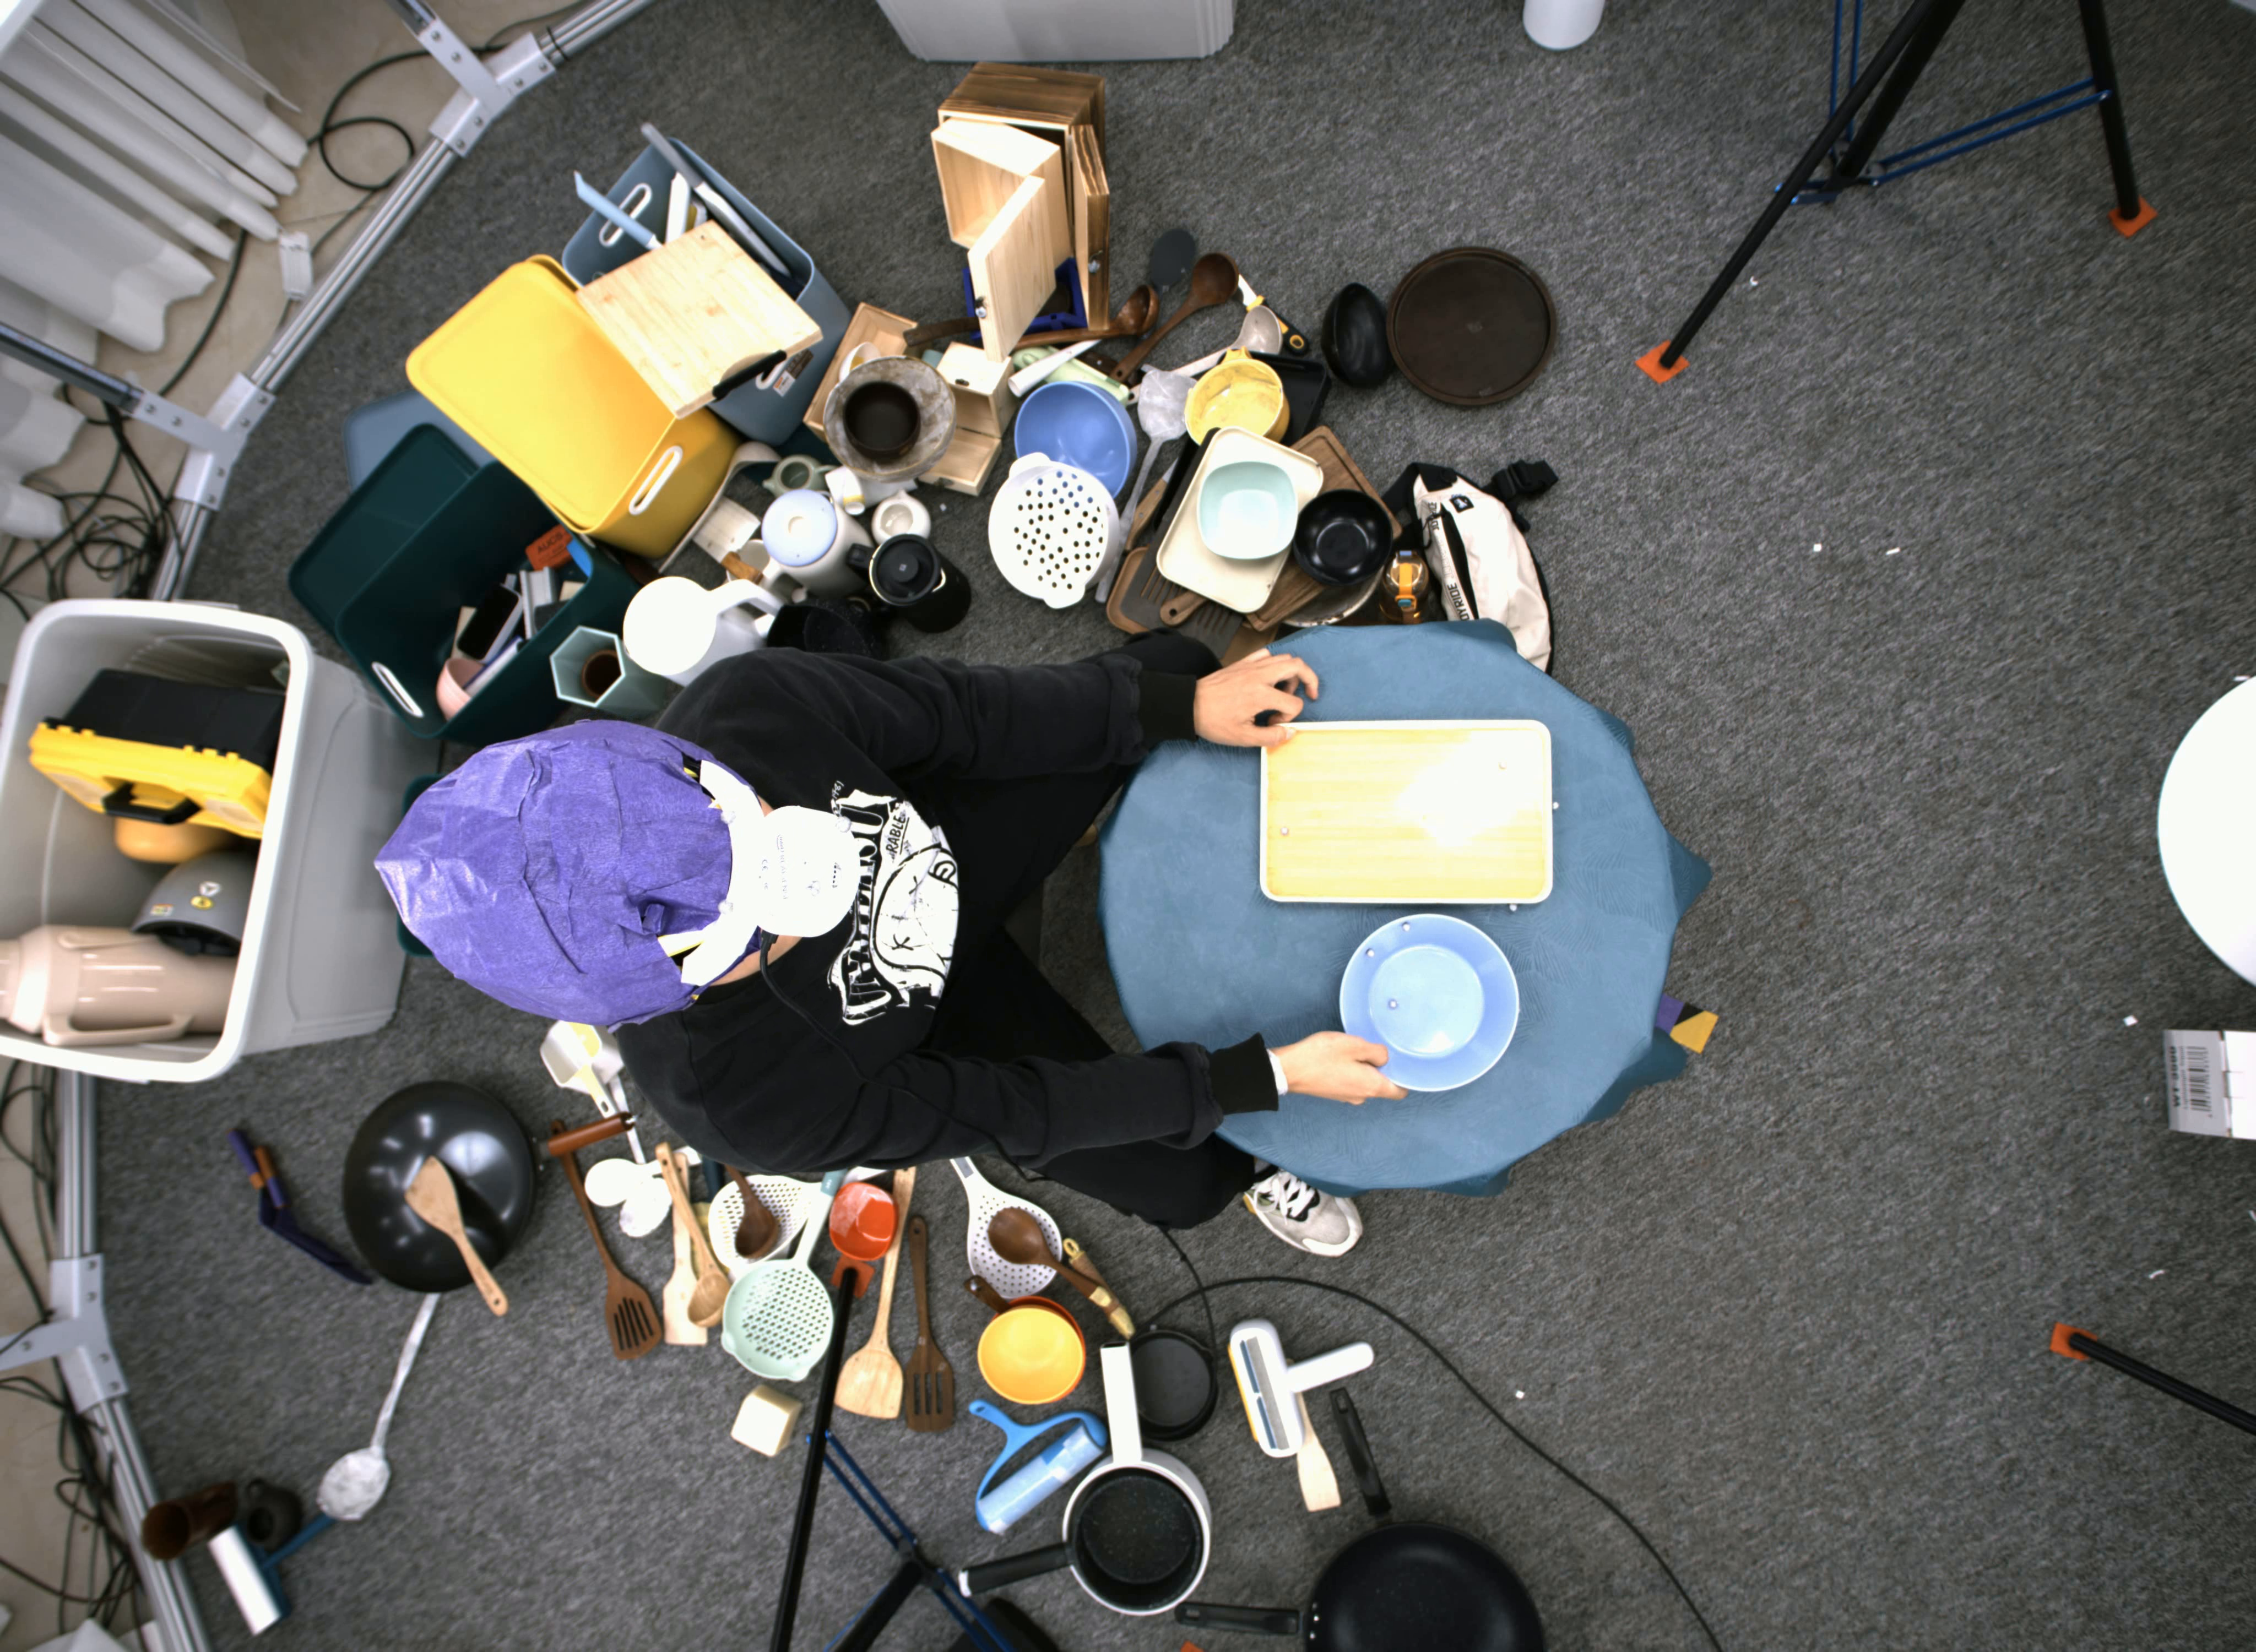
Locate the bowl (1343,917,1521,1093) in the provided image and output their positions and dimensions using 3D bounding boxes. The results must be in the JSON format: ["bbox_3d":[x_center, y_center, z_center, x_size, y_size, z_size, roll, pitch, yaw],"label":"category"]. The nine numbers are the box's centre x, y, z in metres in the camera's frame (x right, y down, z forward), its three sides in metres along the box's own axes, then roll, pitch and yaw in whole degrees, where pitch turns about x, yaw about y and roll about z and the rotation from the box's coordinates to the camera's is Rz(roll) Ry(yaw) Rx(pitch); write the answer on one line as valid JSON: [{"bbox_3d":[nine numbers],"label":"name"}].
[{"bbox_3d":[0.309,0.182,1.414,0.177,0.070,0.175,-1,84,11],"label":"bowl"}]

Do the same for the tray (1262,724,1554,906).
[{"bbox_3d":[0.293,-0.013,1.453,0.301,0.027,0.190,0,86,10],"label":"tray"}]
